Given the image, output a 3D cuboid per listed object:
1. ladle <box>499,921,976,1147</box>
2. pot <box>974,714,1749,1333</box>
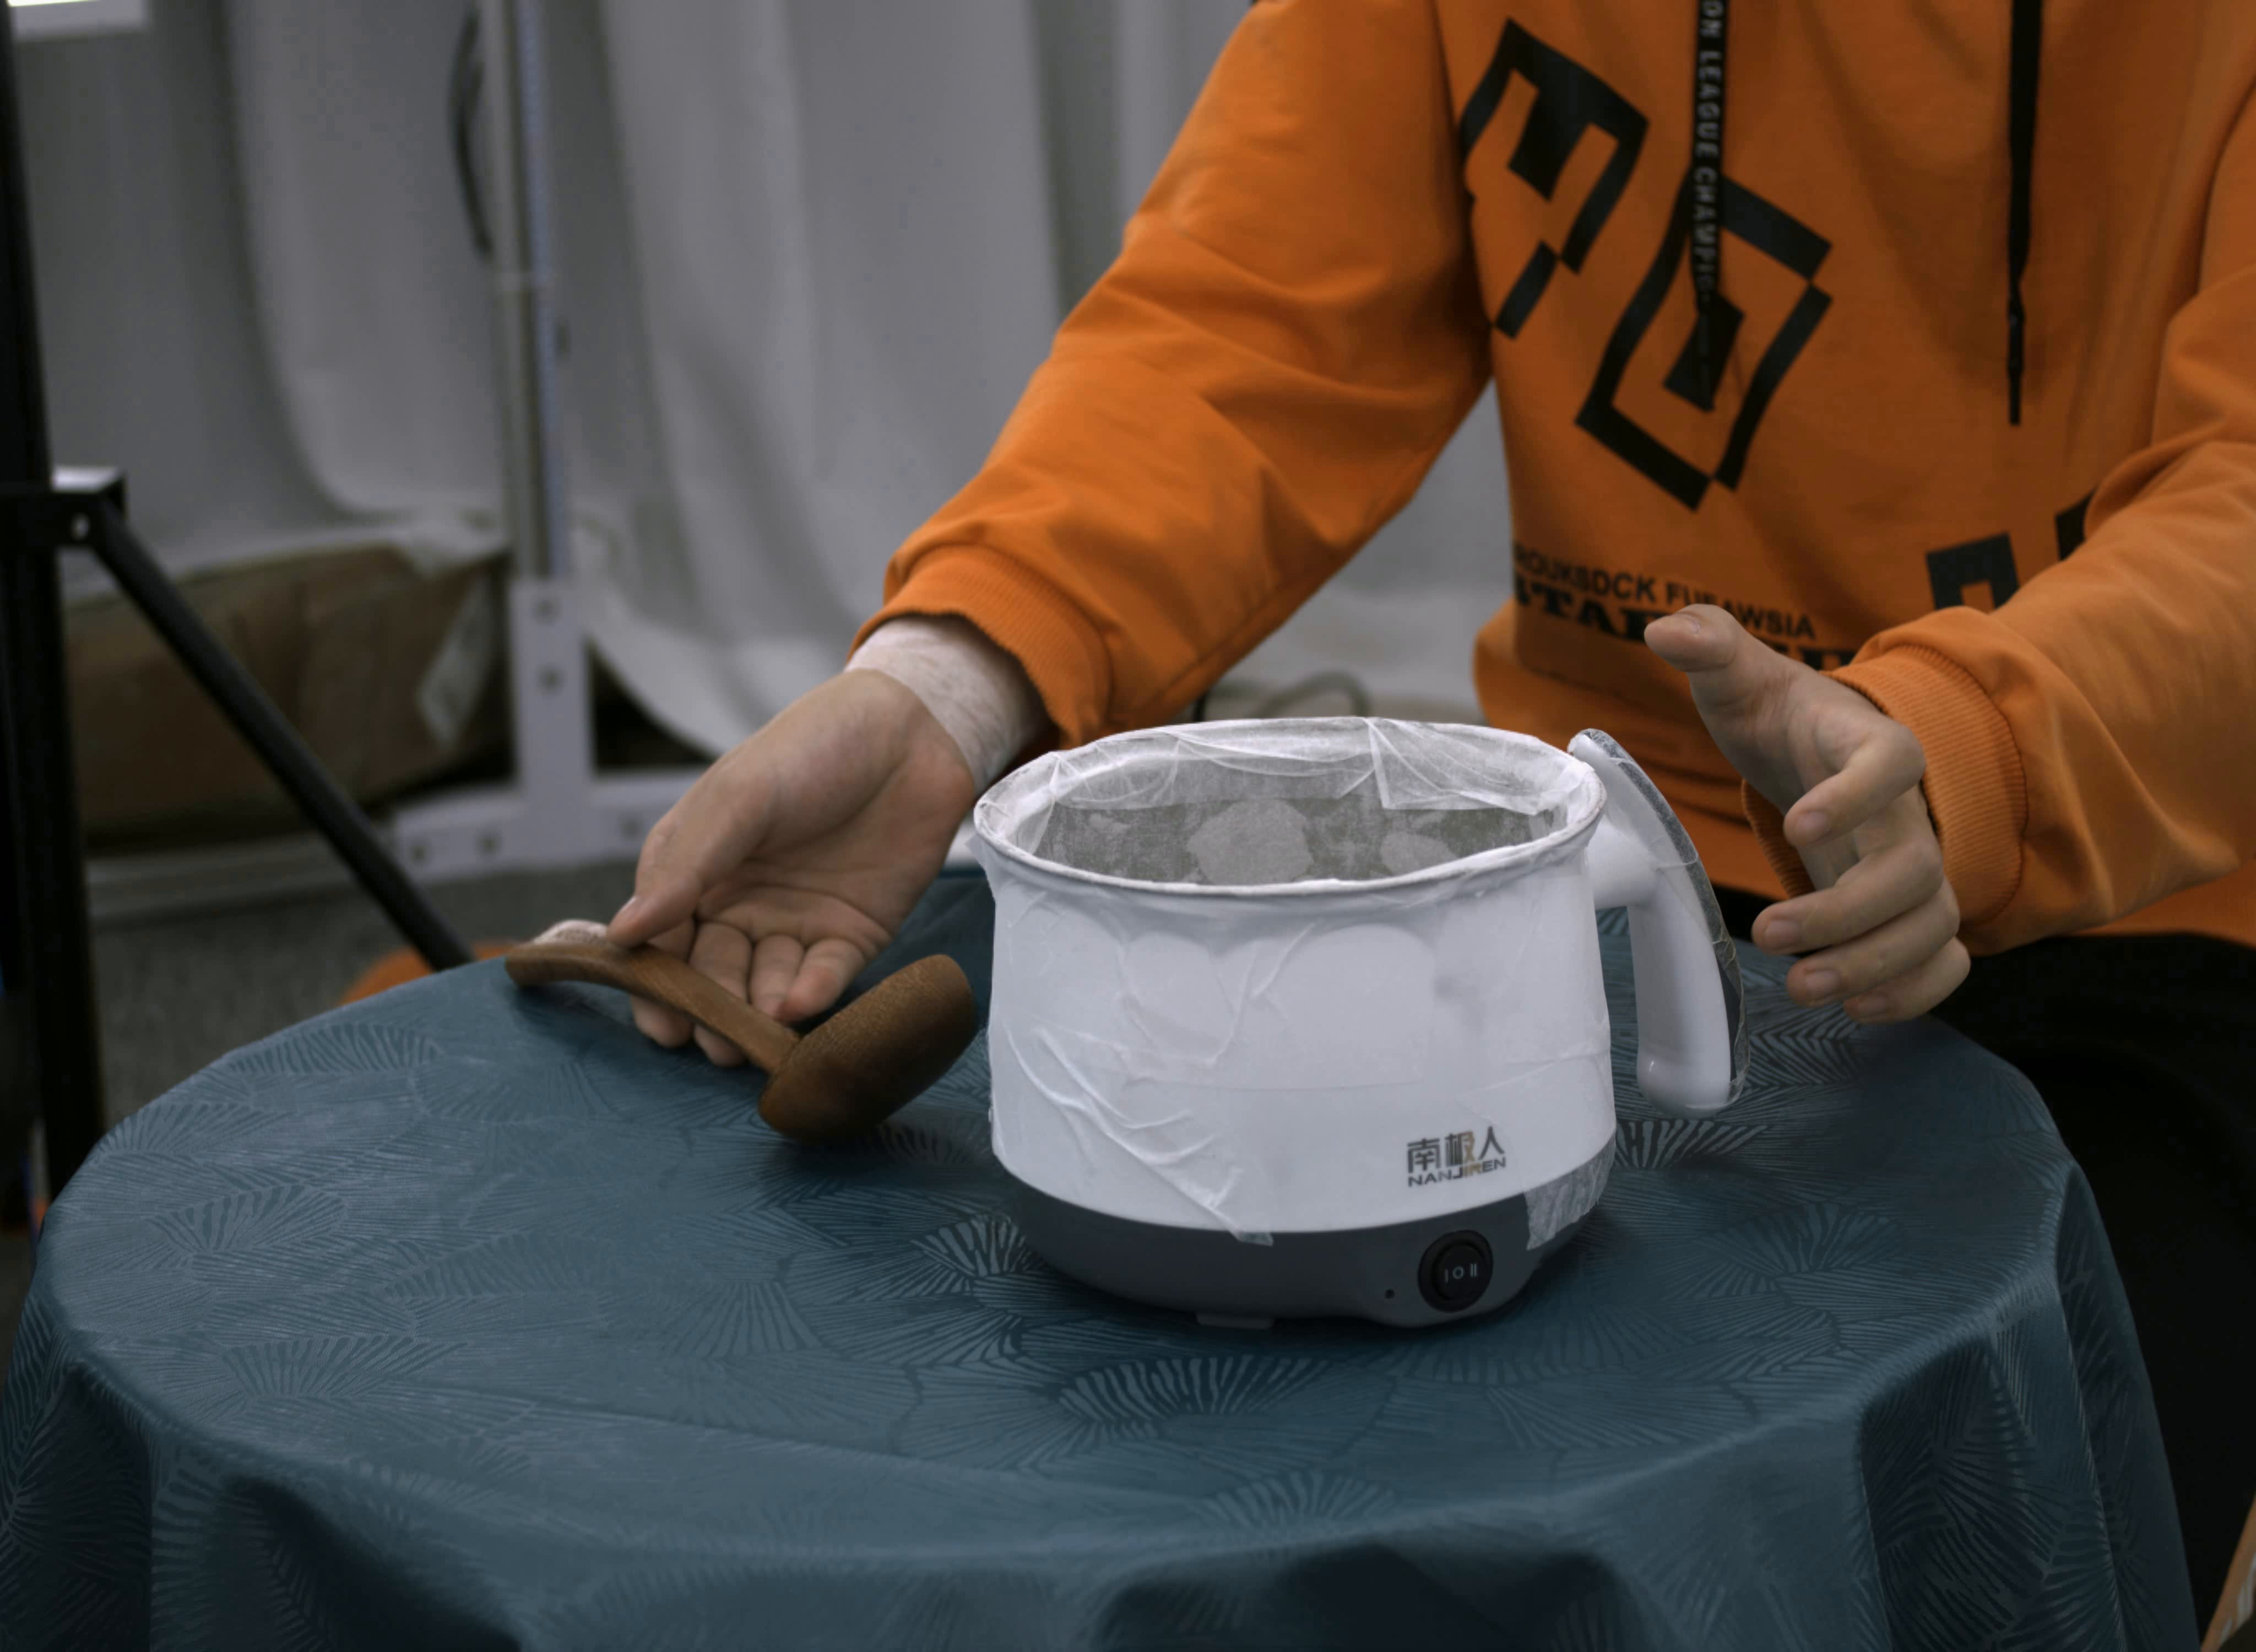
[{"bbox_3d":[-0.135,0.048,1.678,0.075,0.065,0.266,-26,26,-27],"label":"ladle"},{"bbox_3d":[0.072,0.049,1.503,0.229,0.136,0.182,-10,18,-26],"label":"pot"}]
